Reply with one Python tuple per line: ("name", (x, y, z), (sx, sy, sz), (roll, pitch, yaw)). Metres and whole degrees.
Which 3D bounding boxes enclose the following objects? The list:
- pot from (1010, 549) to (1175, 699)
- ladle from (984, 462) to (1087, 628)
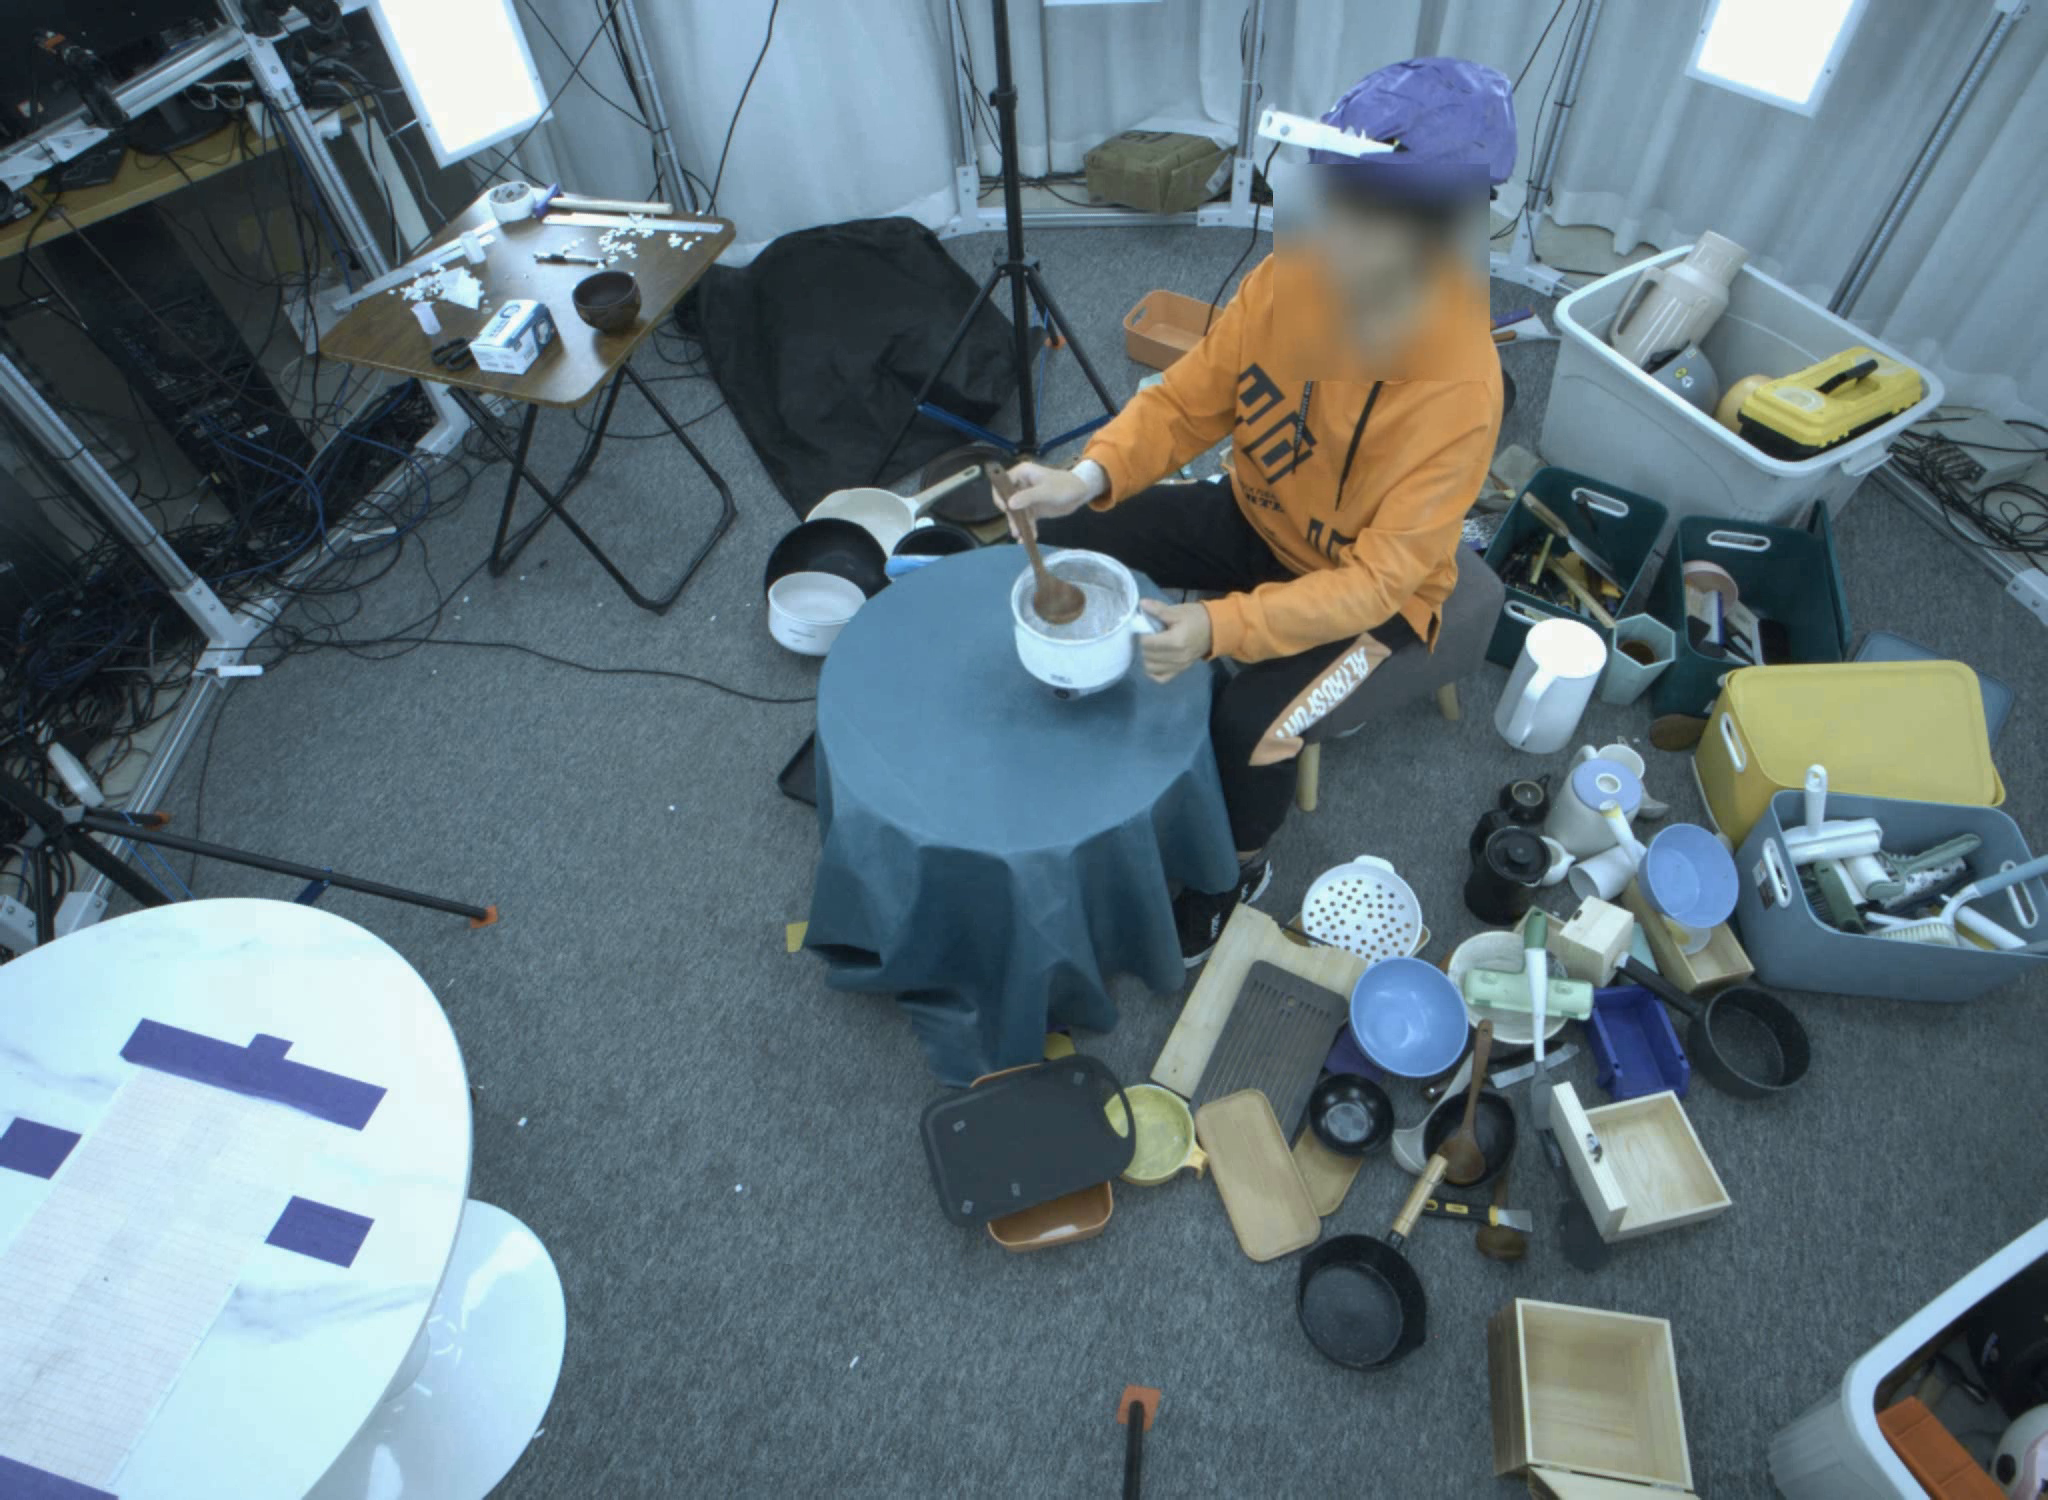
("pot", (0.101, -0.175, 1.756), (0.232, 0.138, 0.178), (10, 58, 11))
("ladle", (0.009, -0.289, 1.693), (0.077, 0.064, 0.260), (-24, 92, -23))
